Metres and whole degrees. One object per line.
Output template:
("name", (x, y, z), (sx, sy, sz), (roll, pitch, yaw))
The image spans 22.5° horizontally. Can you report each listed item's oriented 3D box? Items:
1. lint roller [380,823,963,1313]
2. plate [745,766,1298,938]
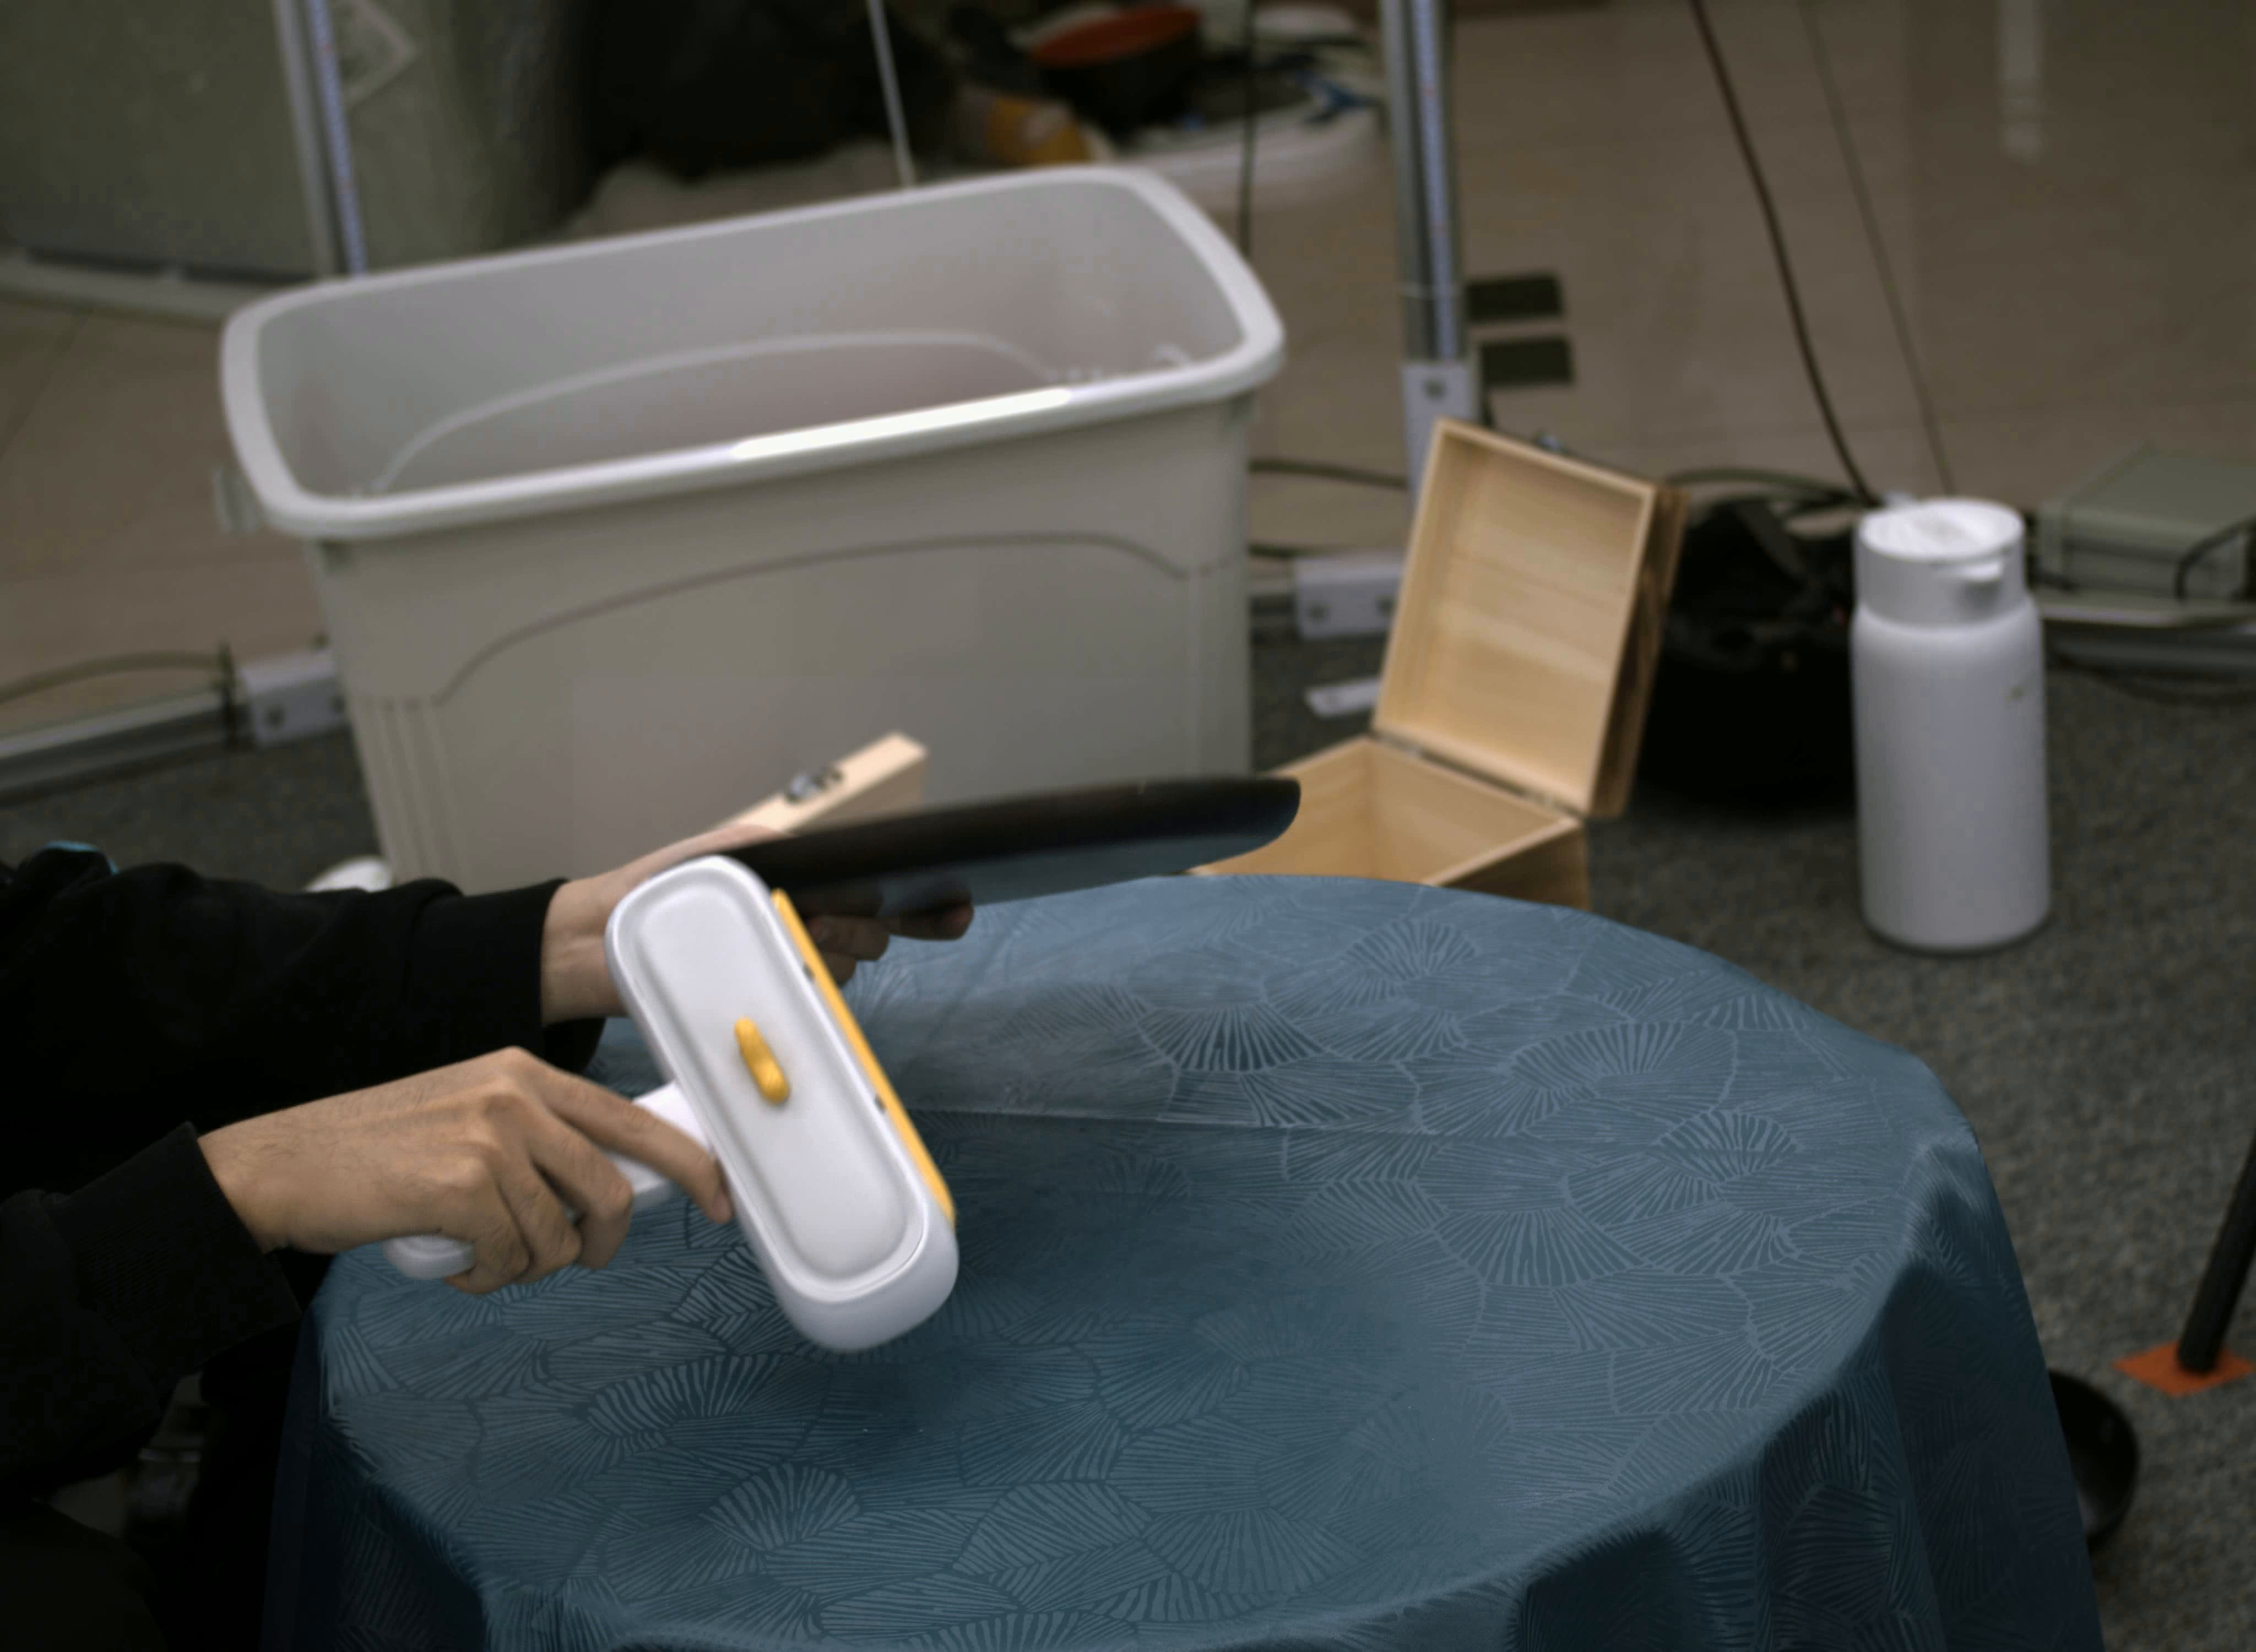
("lint roller", (-0.175, 0.110, 1.997), (0.191, 0.075, 0.191), (-29, 76, -14))
("plate", (-0.059, 0.014, 2.165), (0.254, 0.029, 0.255), (-10, -4, 0))
